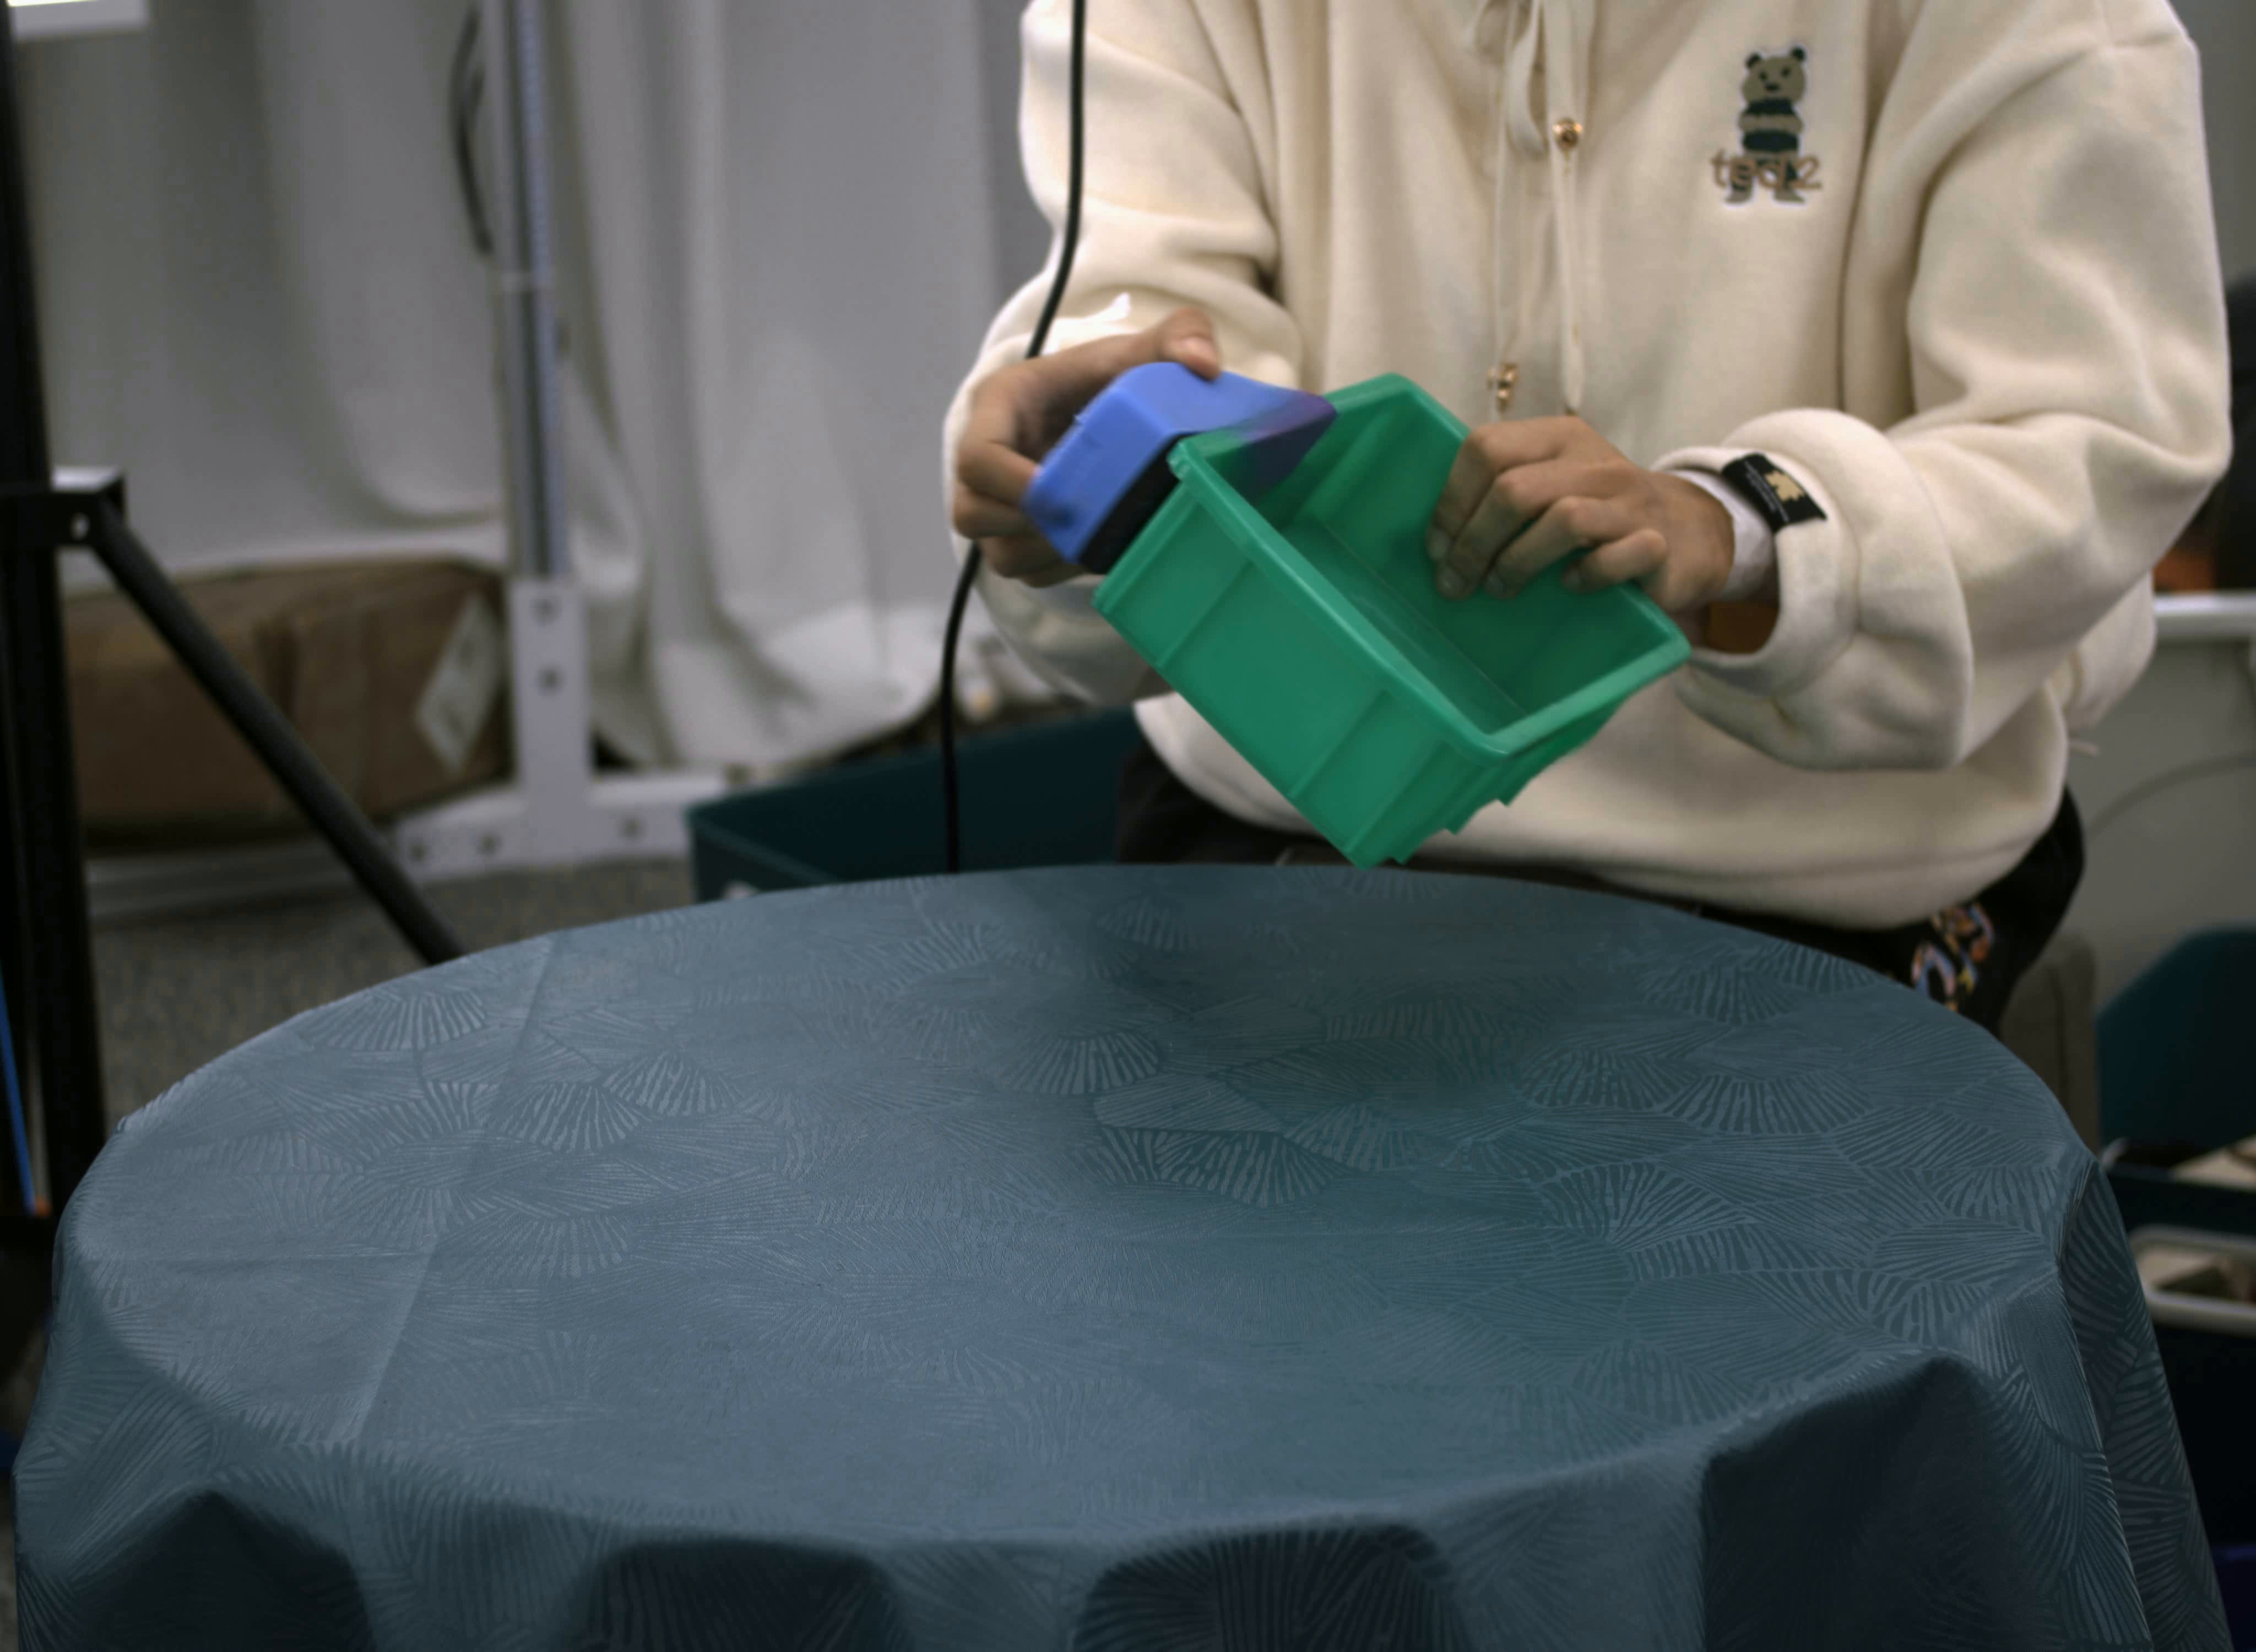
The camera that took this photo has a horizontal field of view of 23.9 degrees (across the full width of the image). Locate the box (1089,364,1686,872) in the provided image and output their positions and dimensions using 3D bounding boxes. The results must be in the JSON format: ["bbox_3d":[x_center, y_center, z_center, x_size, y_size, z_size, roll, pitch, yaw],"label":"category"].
[{"bbox_3d":[0.080,-0.064,1.662,0.140,0.066,0.207,43,26,10],"label":"box"}]

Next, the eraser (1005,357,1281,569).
[{"bbox_3d":[0.007,-0.115,1.676,0.048,0.054,0.160,43,16,11],"label":"eraser"}]
